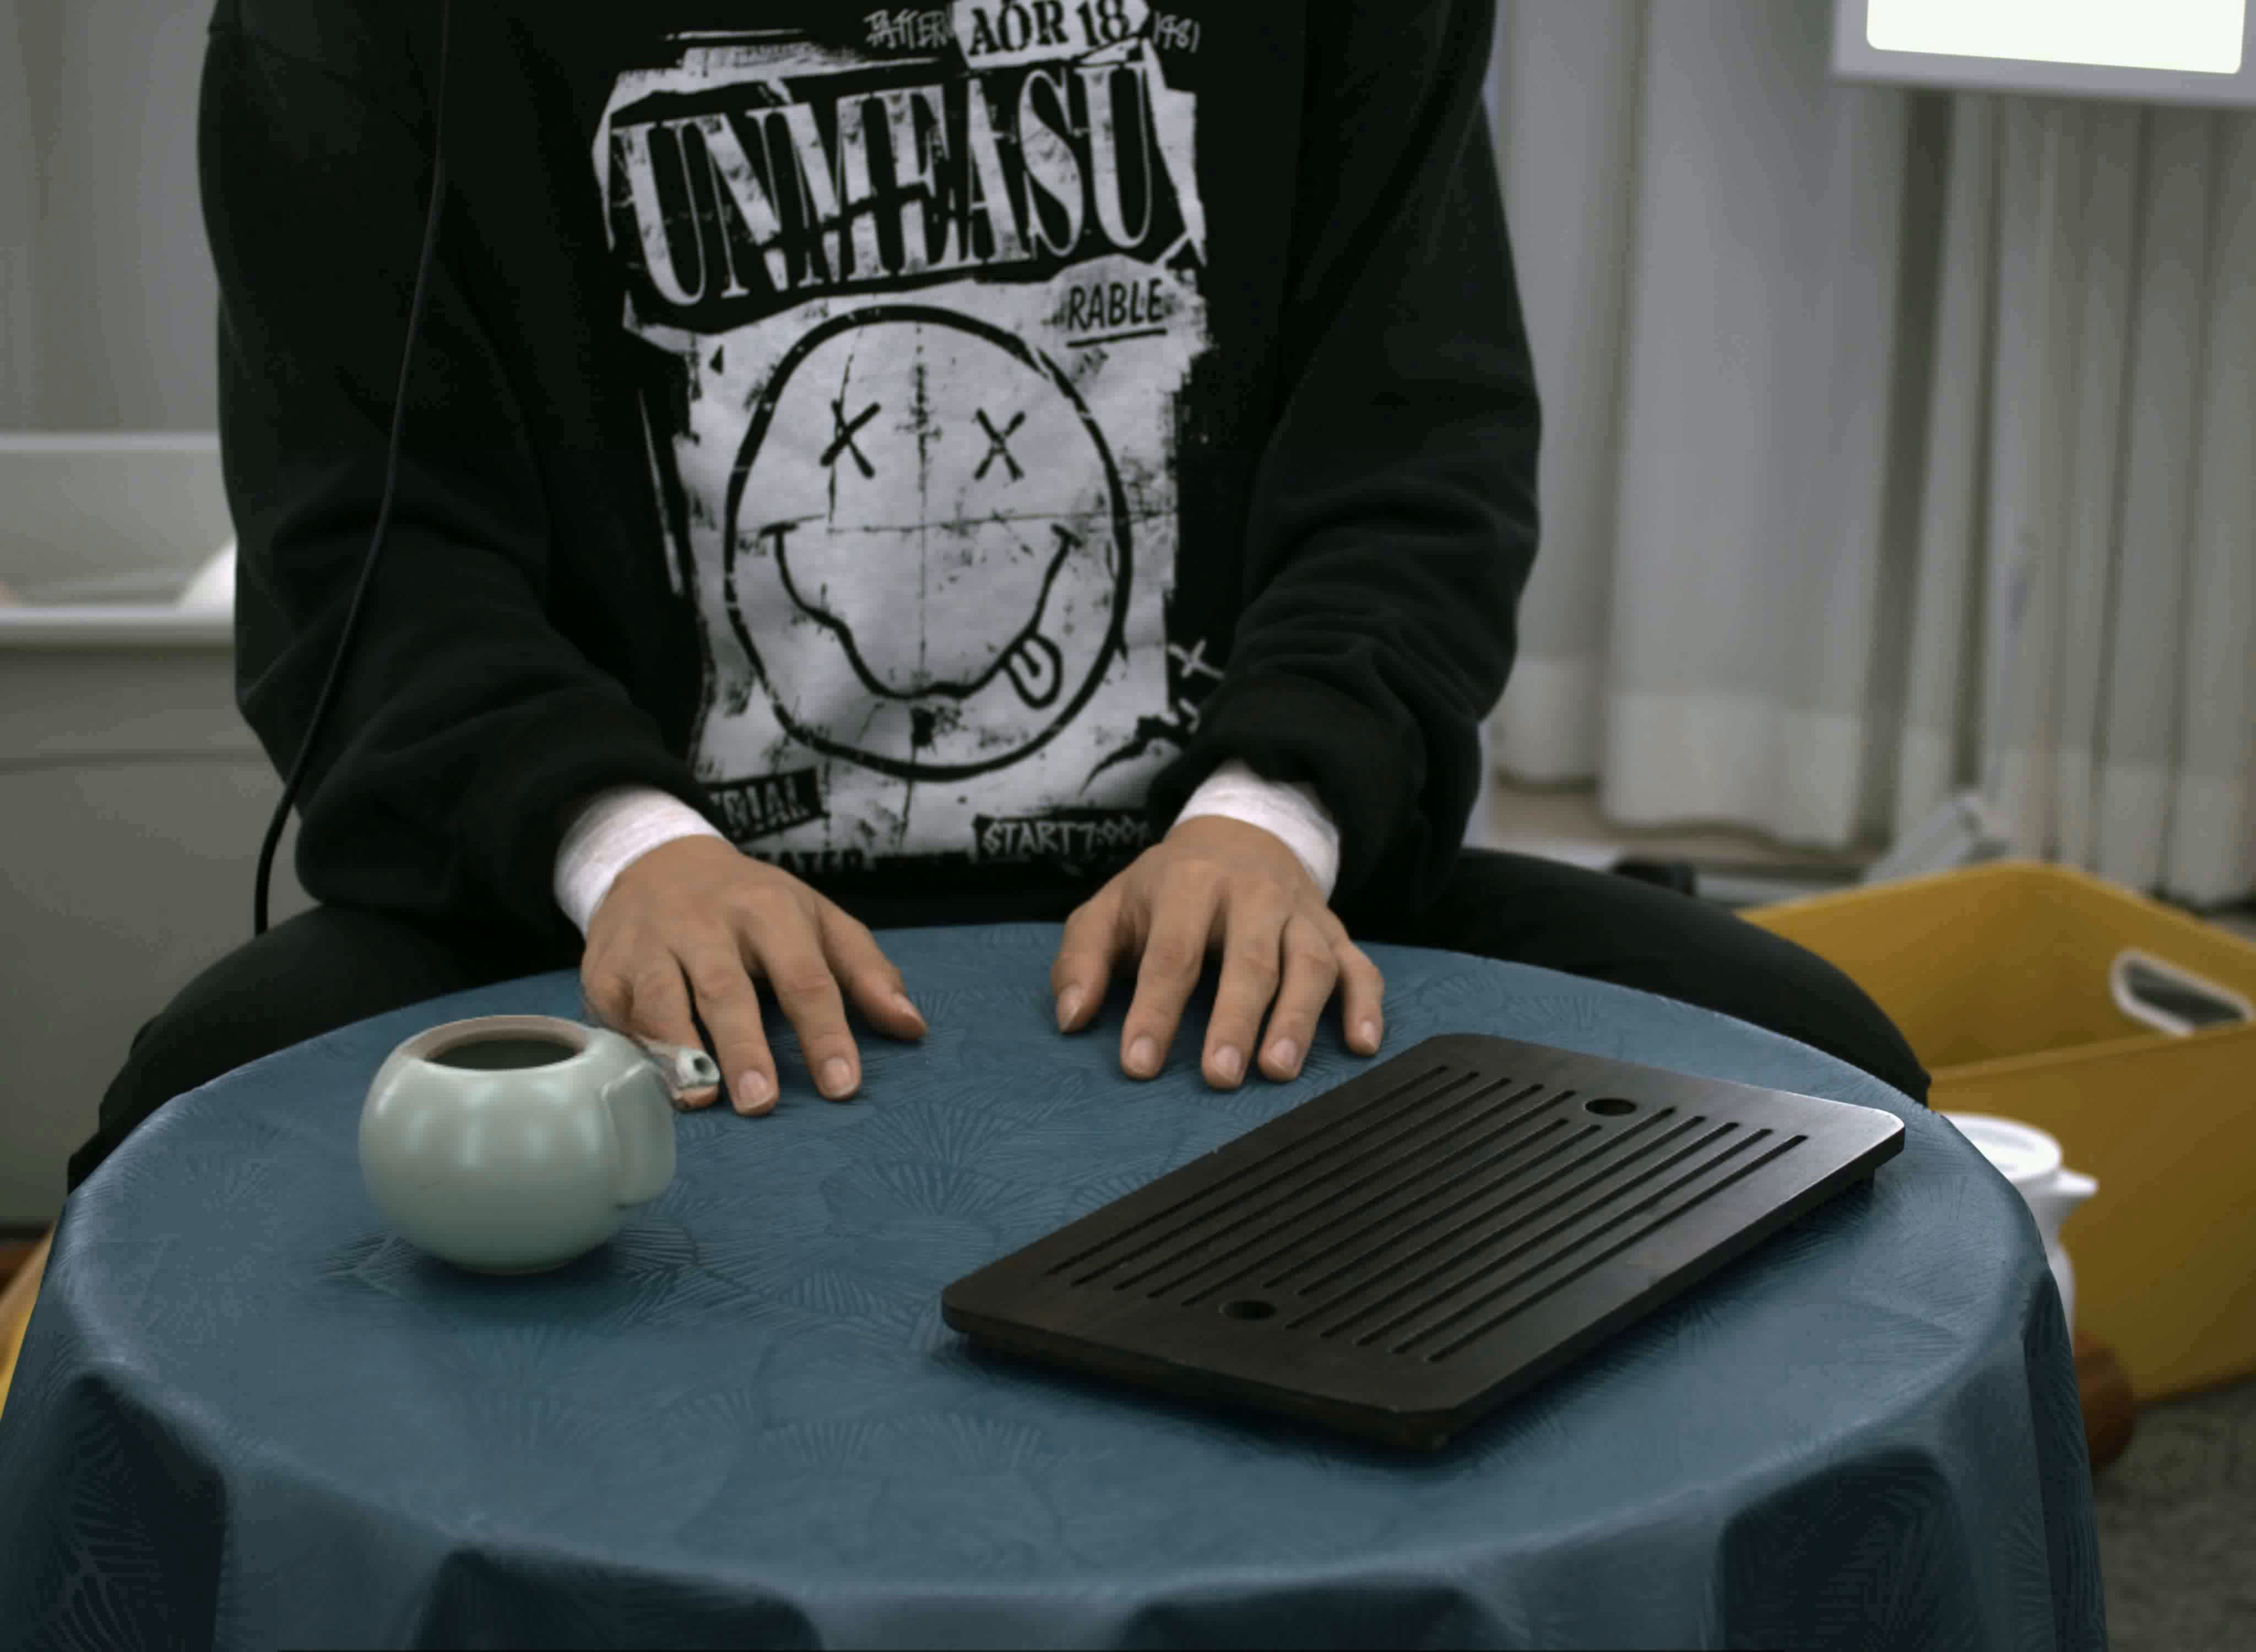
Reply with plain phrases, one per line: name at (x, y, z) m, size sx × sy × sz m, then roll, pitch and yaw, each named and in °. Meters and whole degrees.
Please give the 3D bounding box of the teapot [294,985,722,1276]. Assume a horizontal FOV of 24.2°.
teapot at (-0.183, 0.091, 1.556) m, size 0.142 × 0.075 × 0.088 m, roll 10°, pitch 18°, yaw 25°

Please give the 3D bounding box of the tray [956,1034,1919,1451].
tray at (0.098, 0.120, 1.565) m, size 0.168 × 0.019 × 0.307 m, roll 10°, pitch 18°, yaw 31°
